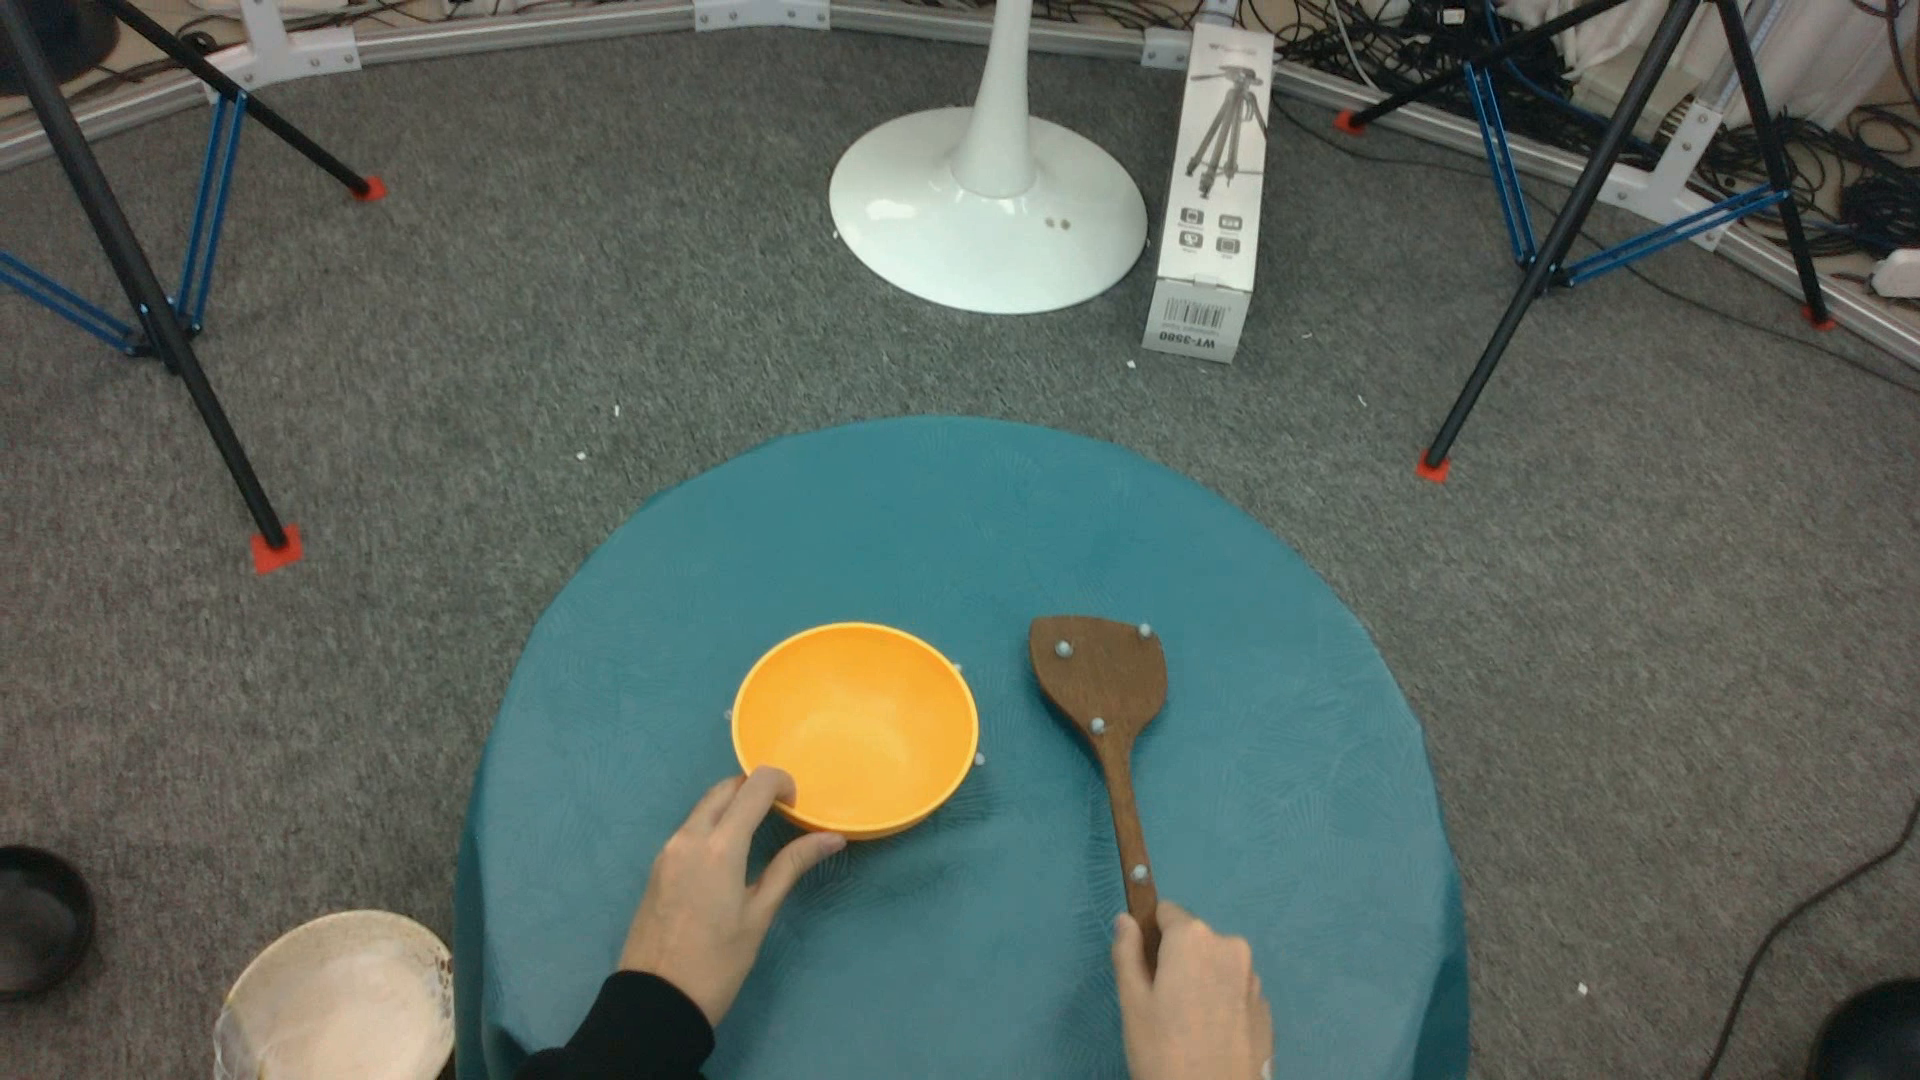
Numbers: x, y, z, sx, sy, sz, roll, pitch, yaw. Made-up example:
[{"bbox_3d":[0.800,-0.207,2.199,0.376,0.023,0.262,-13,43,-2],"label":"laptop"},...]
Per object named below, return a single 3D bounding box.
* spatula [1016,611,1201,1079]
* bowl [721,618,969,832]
[{"bbox_3d":[0.094,0.173,0.790,0.096,0.015,0.387,8,38,-11],"label":"spatula"},{"bbox_3d":[-0.069,0.121,0.828,0.145,0.060,0.146,3,49,-3],"label":"bowl"}]
